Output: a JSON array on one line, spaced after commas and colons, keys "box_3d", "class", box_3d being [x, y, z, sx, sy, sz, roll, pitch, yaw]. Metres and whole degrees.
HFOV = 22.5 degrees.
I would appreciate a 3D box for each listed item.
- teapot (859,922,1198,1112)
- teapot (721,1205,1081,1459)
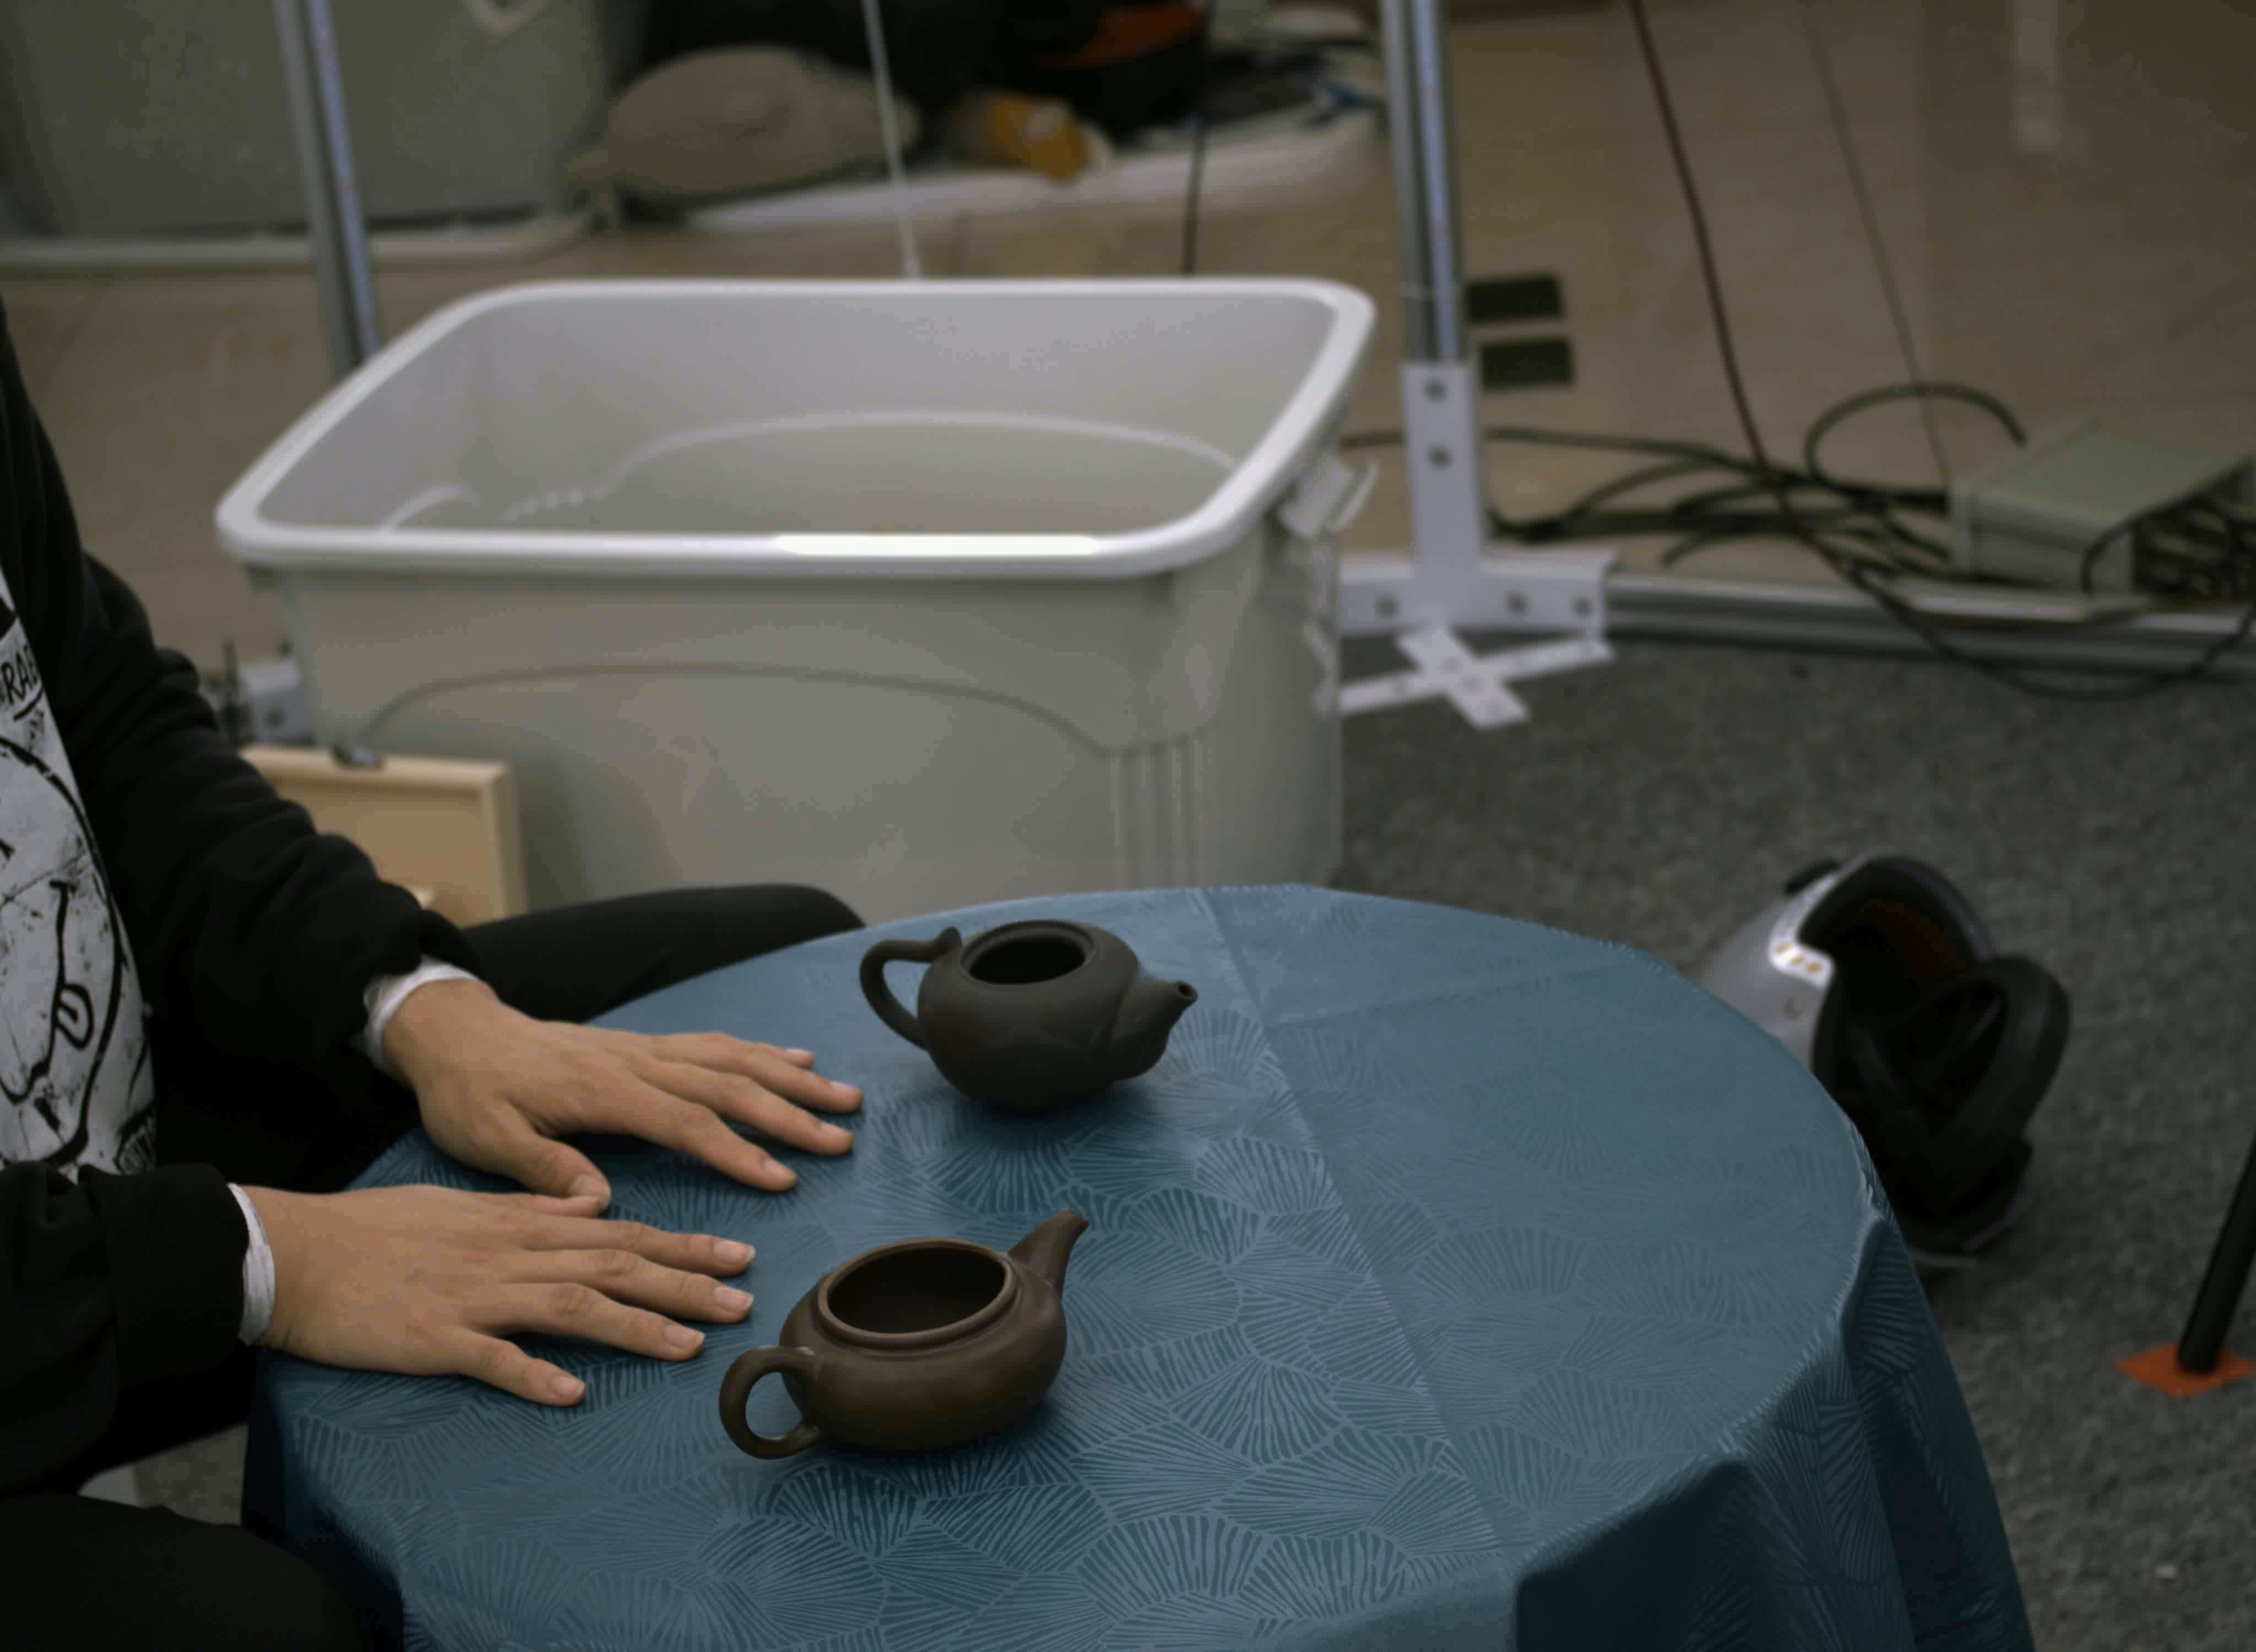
[{"box_3d": [-0.039, 0.073, 2.224, 0.153, 0.065, 0.091, 9, 27, 29], "class": "teapot"}, {"box_3d": [-0.077, 0.183, 2.009, 0.152, 0.054, 0.102, -23, 27, -33], "class": "teapot"}]
